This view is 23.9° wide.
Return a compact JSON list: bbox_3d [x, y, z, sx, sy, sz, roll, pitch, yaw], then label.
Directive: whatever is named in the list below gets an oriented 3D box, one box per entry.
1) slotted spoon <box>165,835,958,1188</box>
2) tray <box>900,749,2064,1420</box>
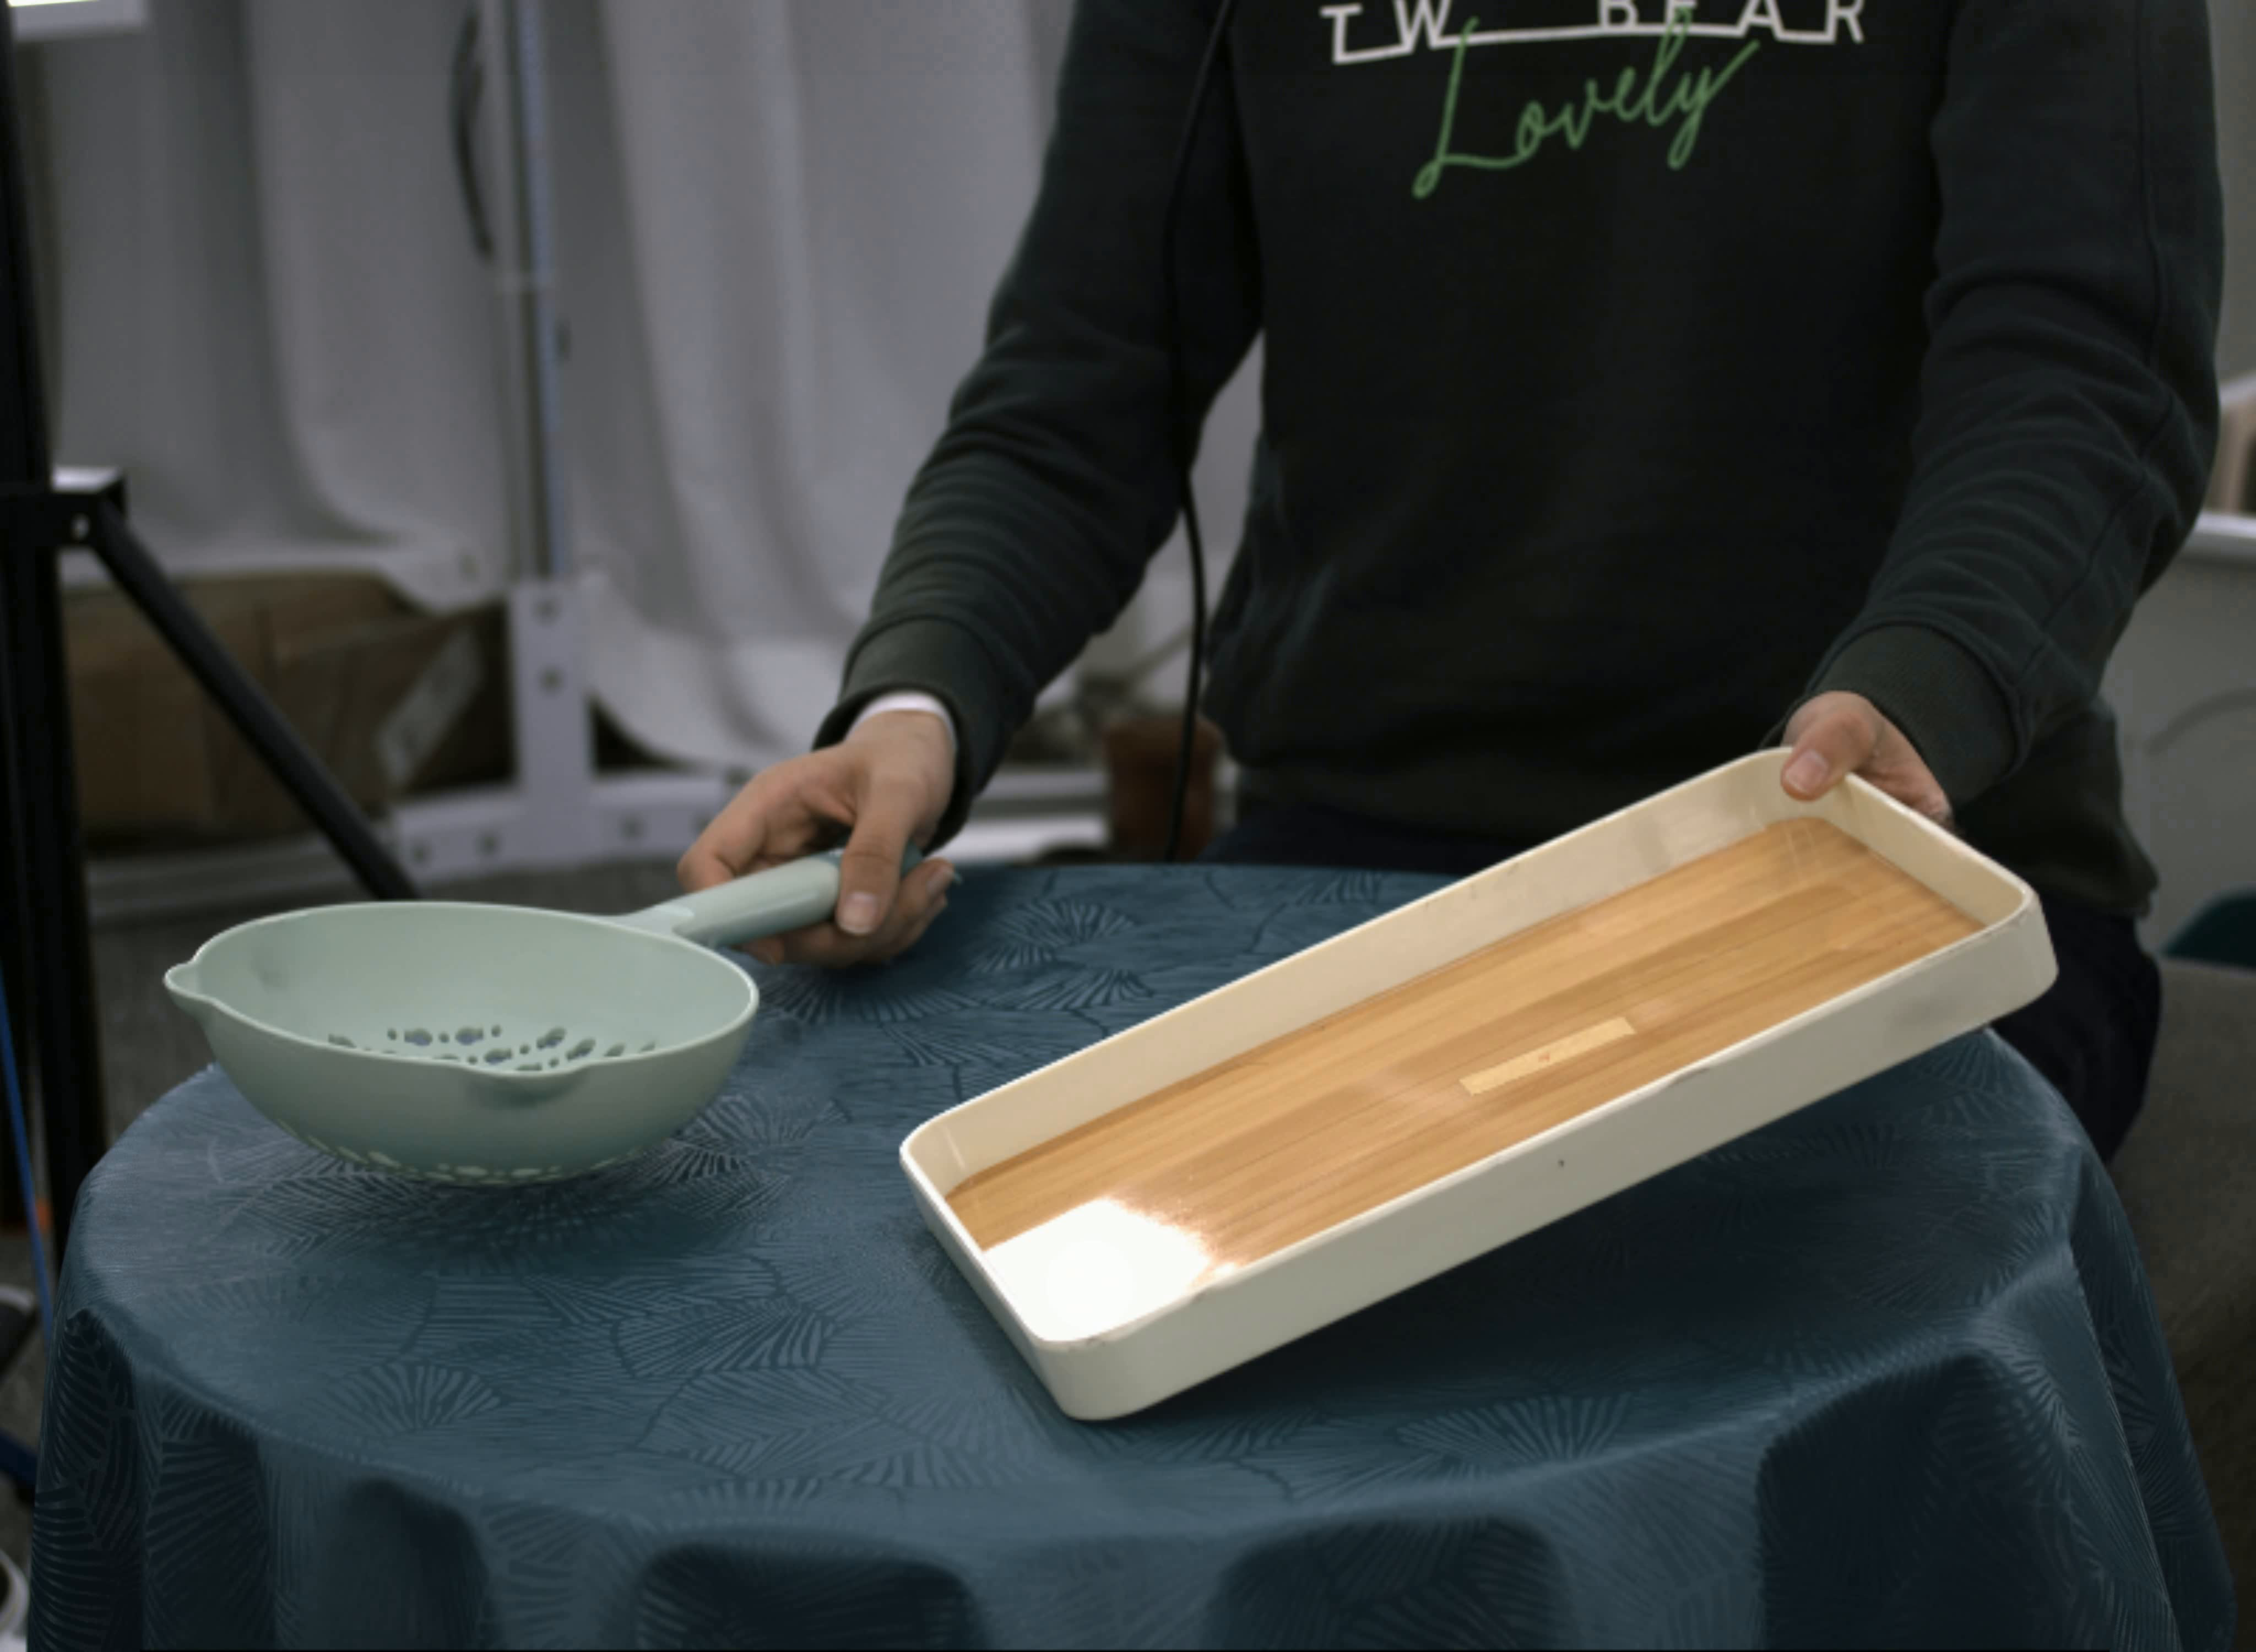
[{"bbox_3d":[-0.149,0.042,1.676,0.172,0.075,0.353,13,24,27],"label":"slotted spoon"},{"bbox_3d":[0.094,0.067,1.480,0.298,0.027,0.194,-23,19,-7],"label":"tray"}]
